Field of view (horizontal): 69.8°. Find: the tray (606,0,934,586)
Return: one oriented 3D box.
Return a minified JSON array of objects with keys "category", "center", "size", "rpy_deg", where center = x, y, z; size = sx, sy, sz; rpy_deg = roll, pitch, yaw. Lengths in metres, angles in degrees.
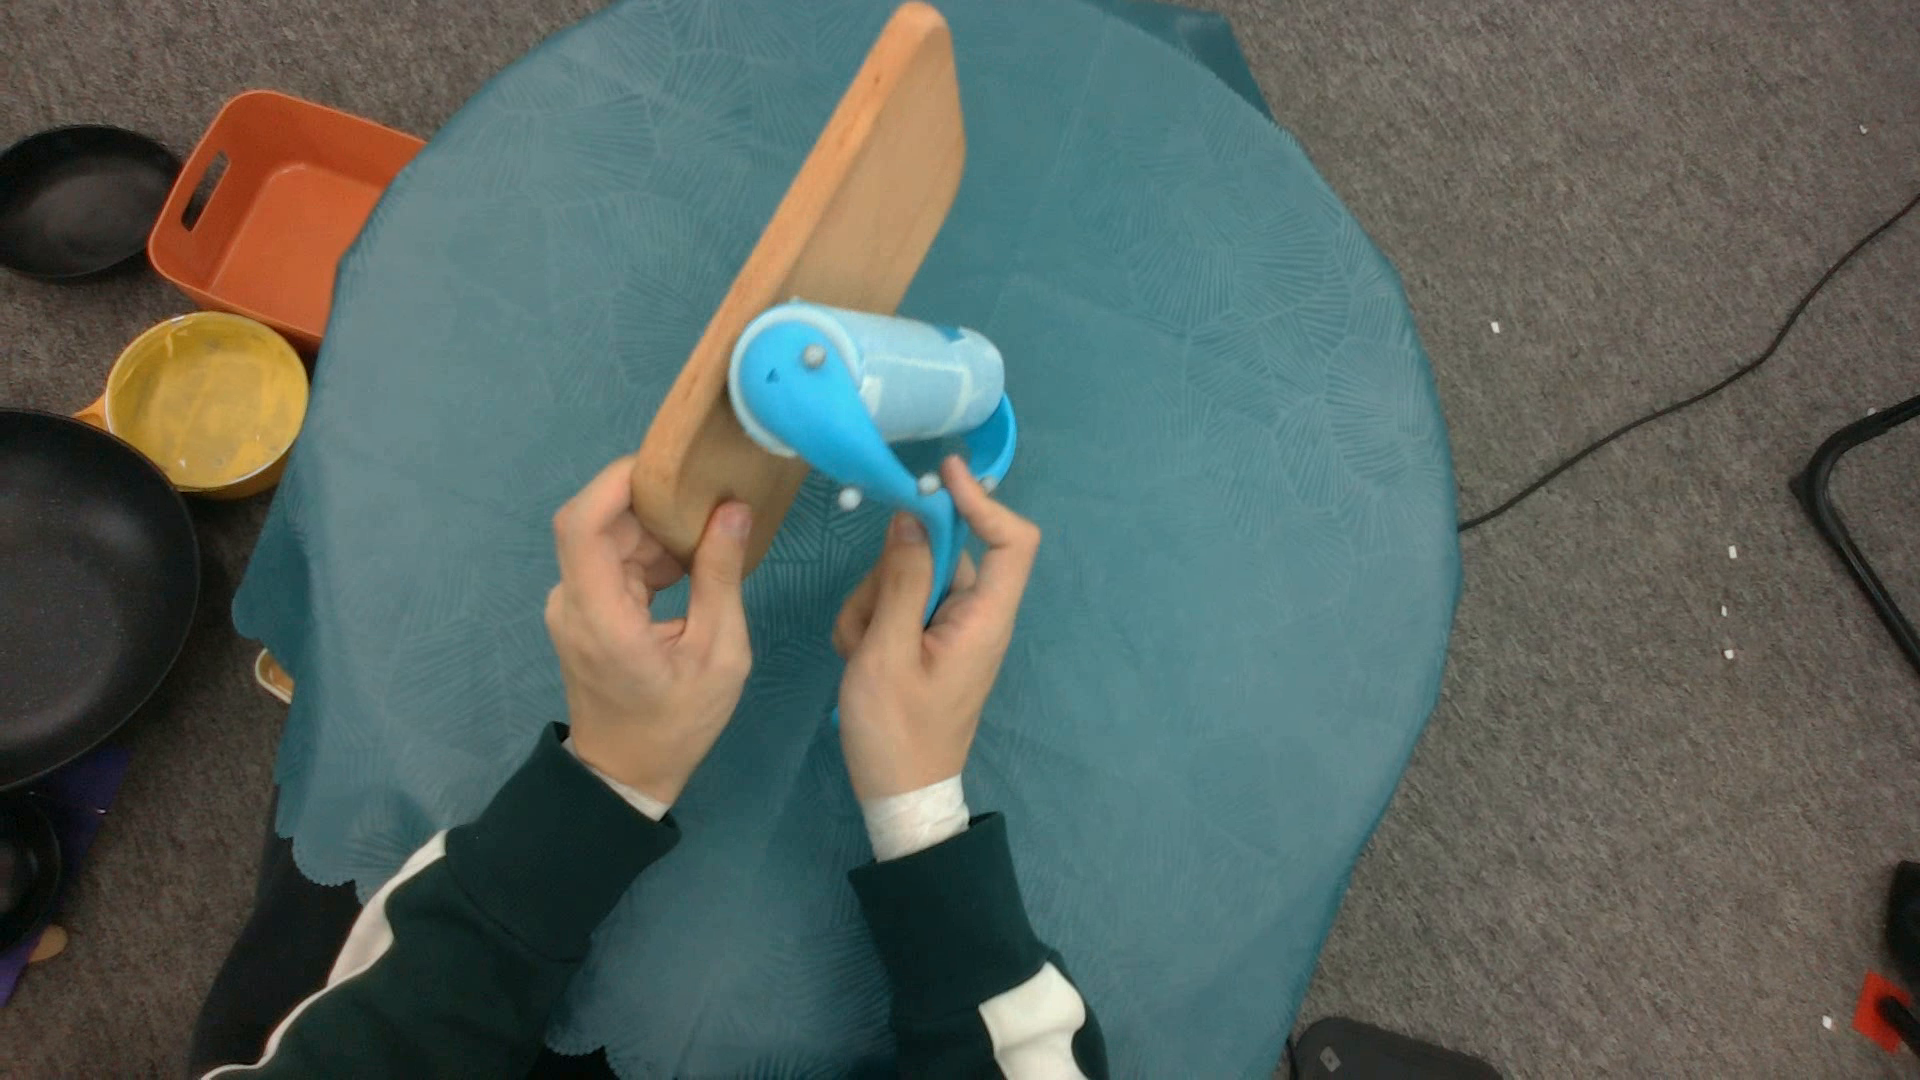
[{"category":"tray","center":[-0.070,-0.103,0.583],"size":[0.023,0.130,0.251],"rpy_deg":[19,73,16]}]

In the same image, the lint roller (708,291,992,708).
[{"category":"lint roller","center":[-0.037,-0.016,0.594],"size":[0.068,0.229,0.180],"rpy_deg":[-1,99,15]}]
